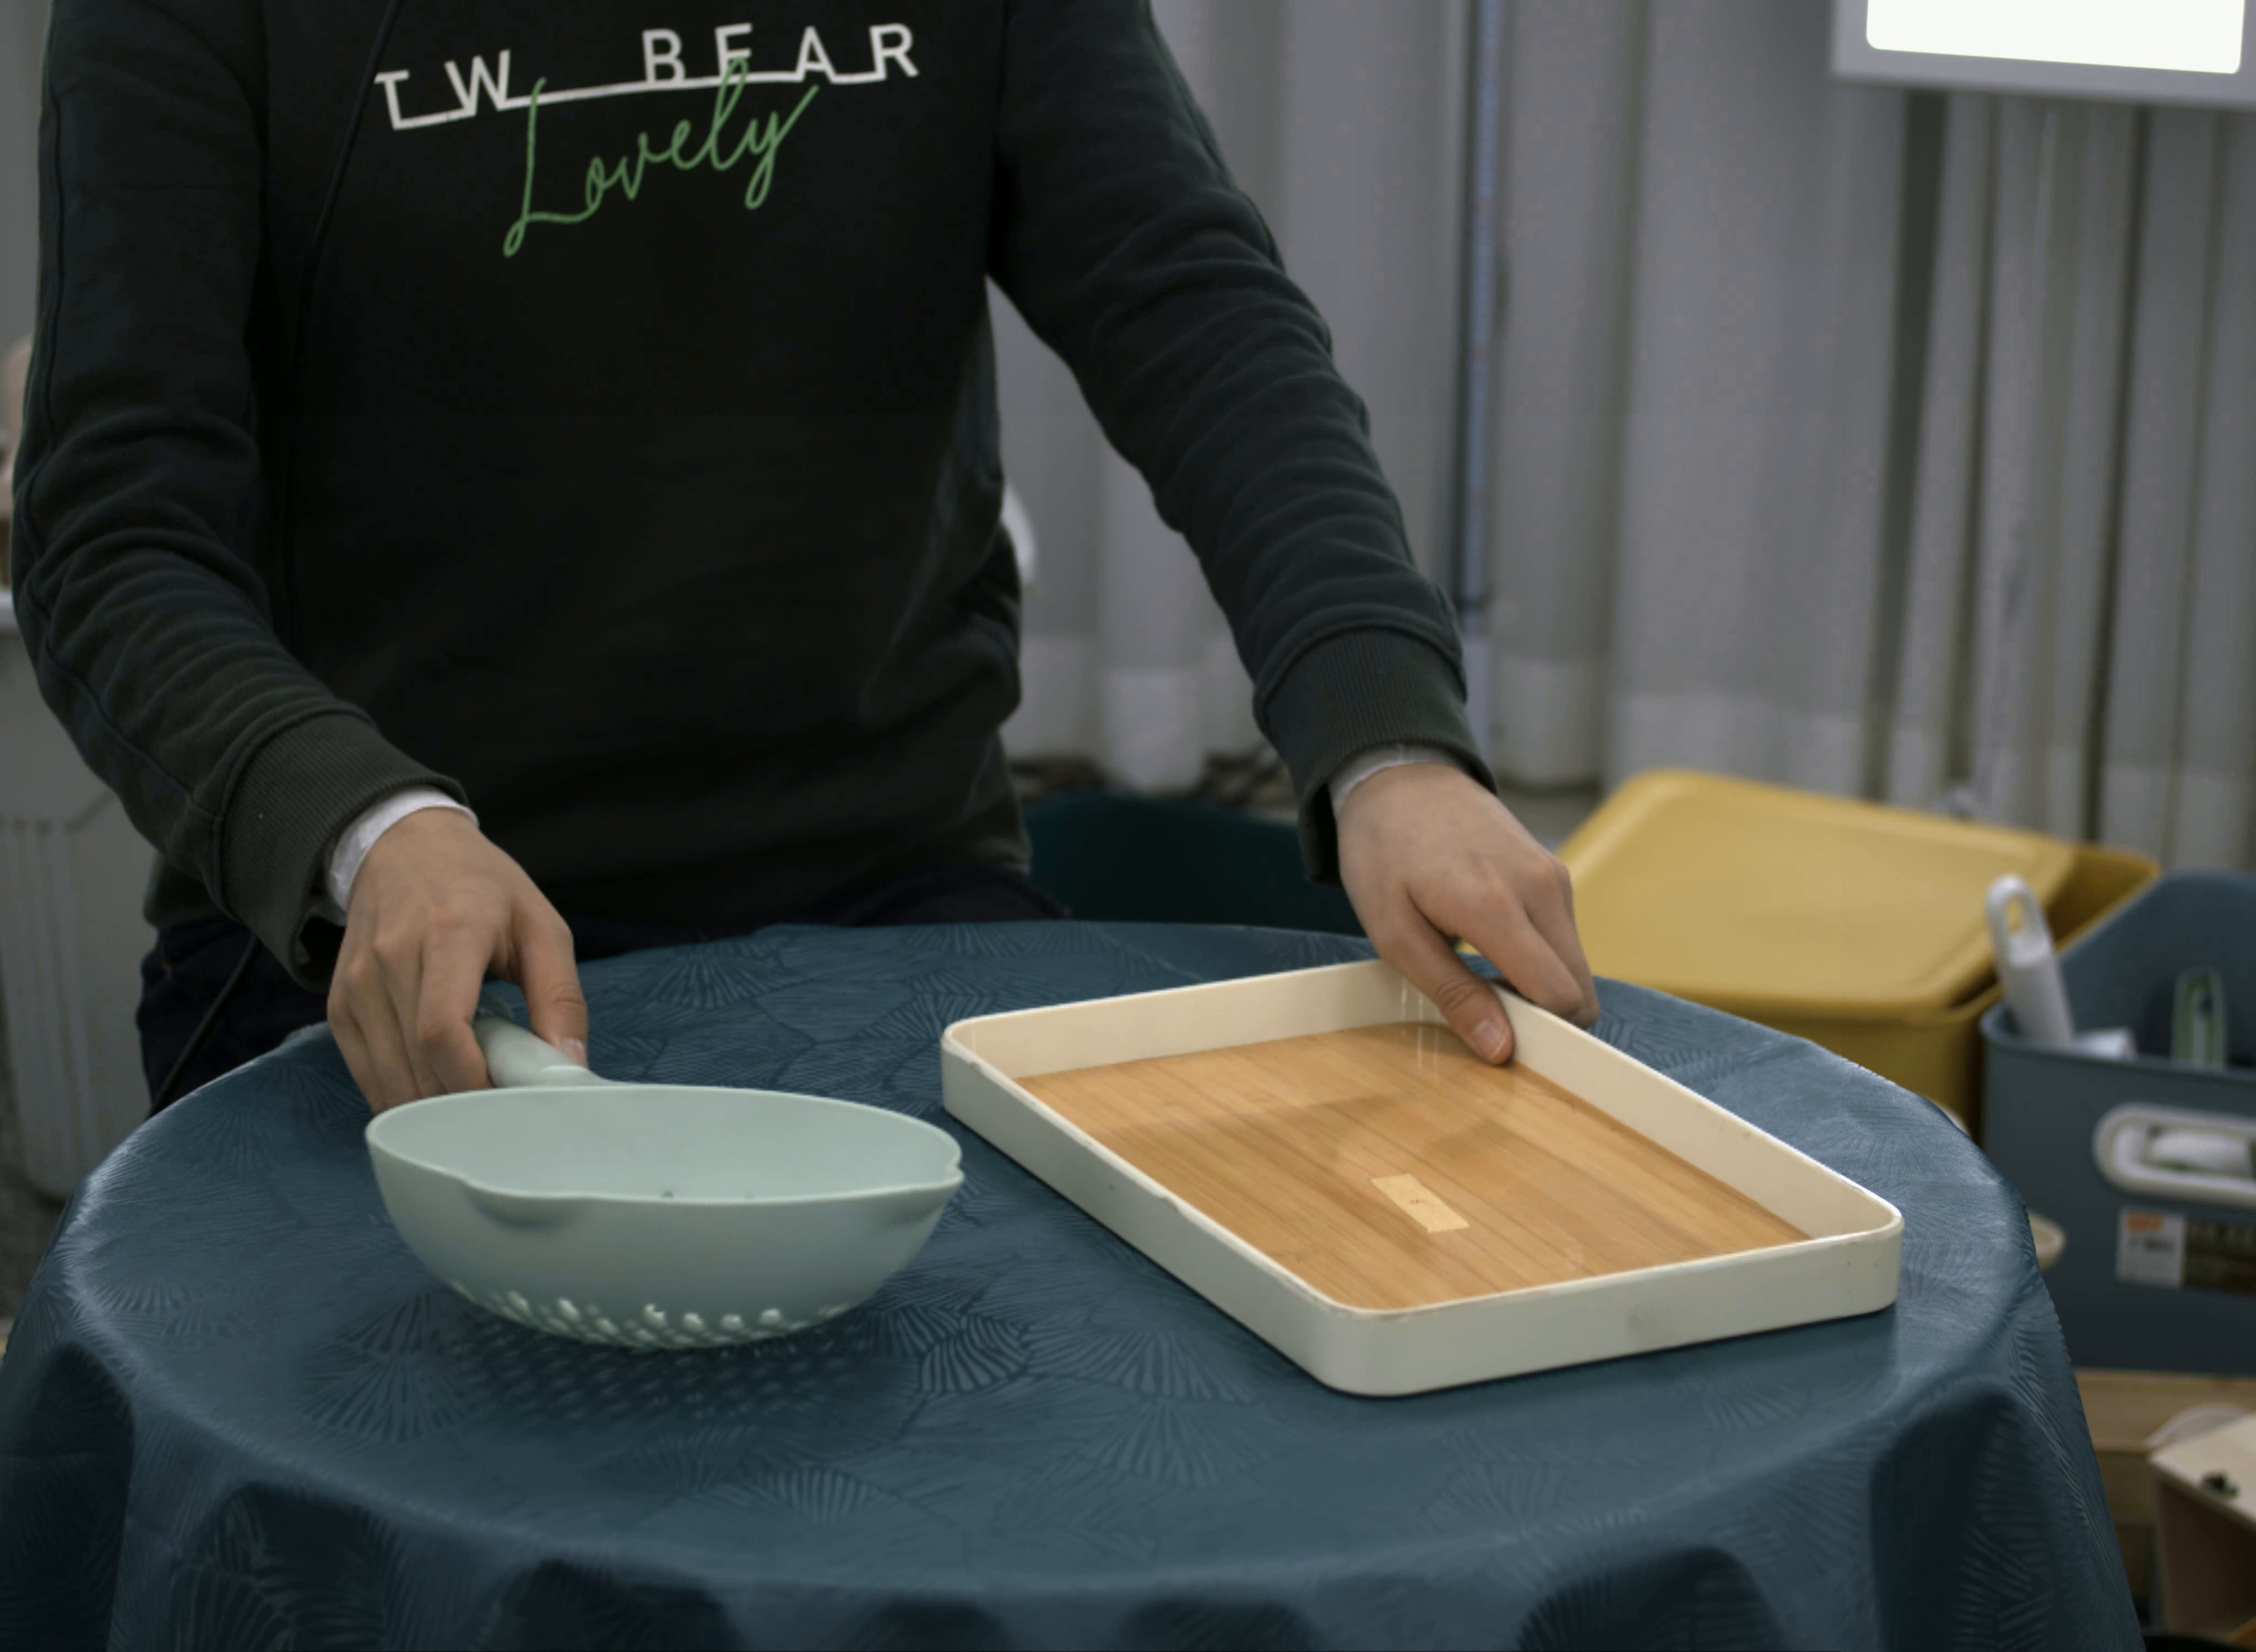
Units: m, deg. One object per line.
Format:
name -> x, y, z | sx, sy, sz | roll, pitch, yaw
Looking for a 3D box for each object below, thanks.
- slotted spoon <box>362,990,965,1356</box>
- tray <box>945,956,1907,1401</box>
slotted spoon -> -0.165, 0.088, 1.581 | 0.170, 0.076, 0.355 | 1, 16, -21
tray -> 0.084, 0.103, 1.617 | 0.192, 0.027, 0.296 | -7, 18, -25
